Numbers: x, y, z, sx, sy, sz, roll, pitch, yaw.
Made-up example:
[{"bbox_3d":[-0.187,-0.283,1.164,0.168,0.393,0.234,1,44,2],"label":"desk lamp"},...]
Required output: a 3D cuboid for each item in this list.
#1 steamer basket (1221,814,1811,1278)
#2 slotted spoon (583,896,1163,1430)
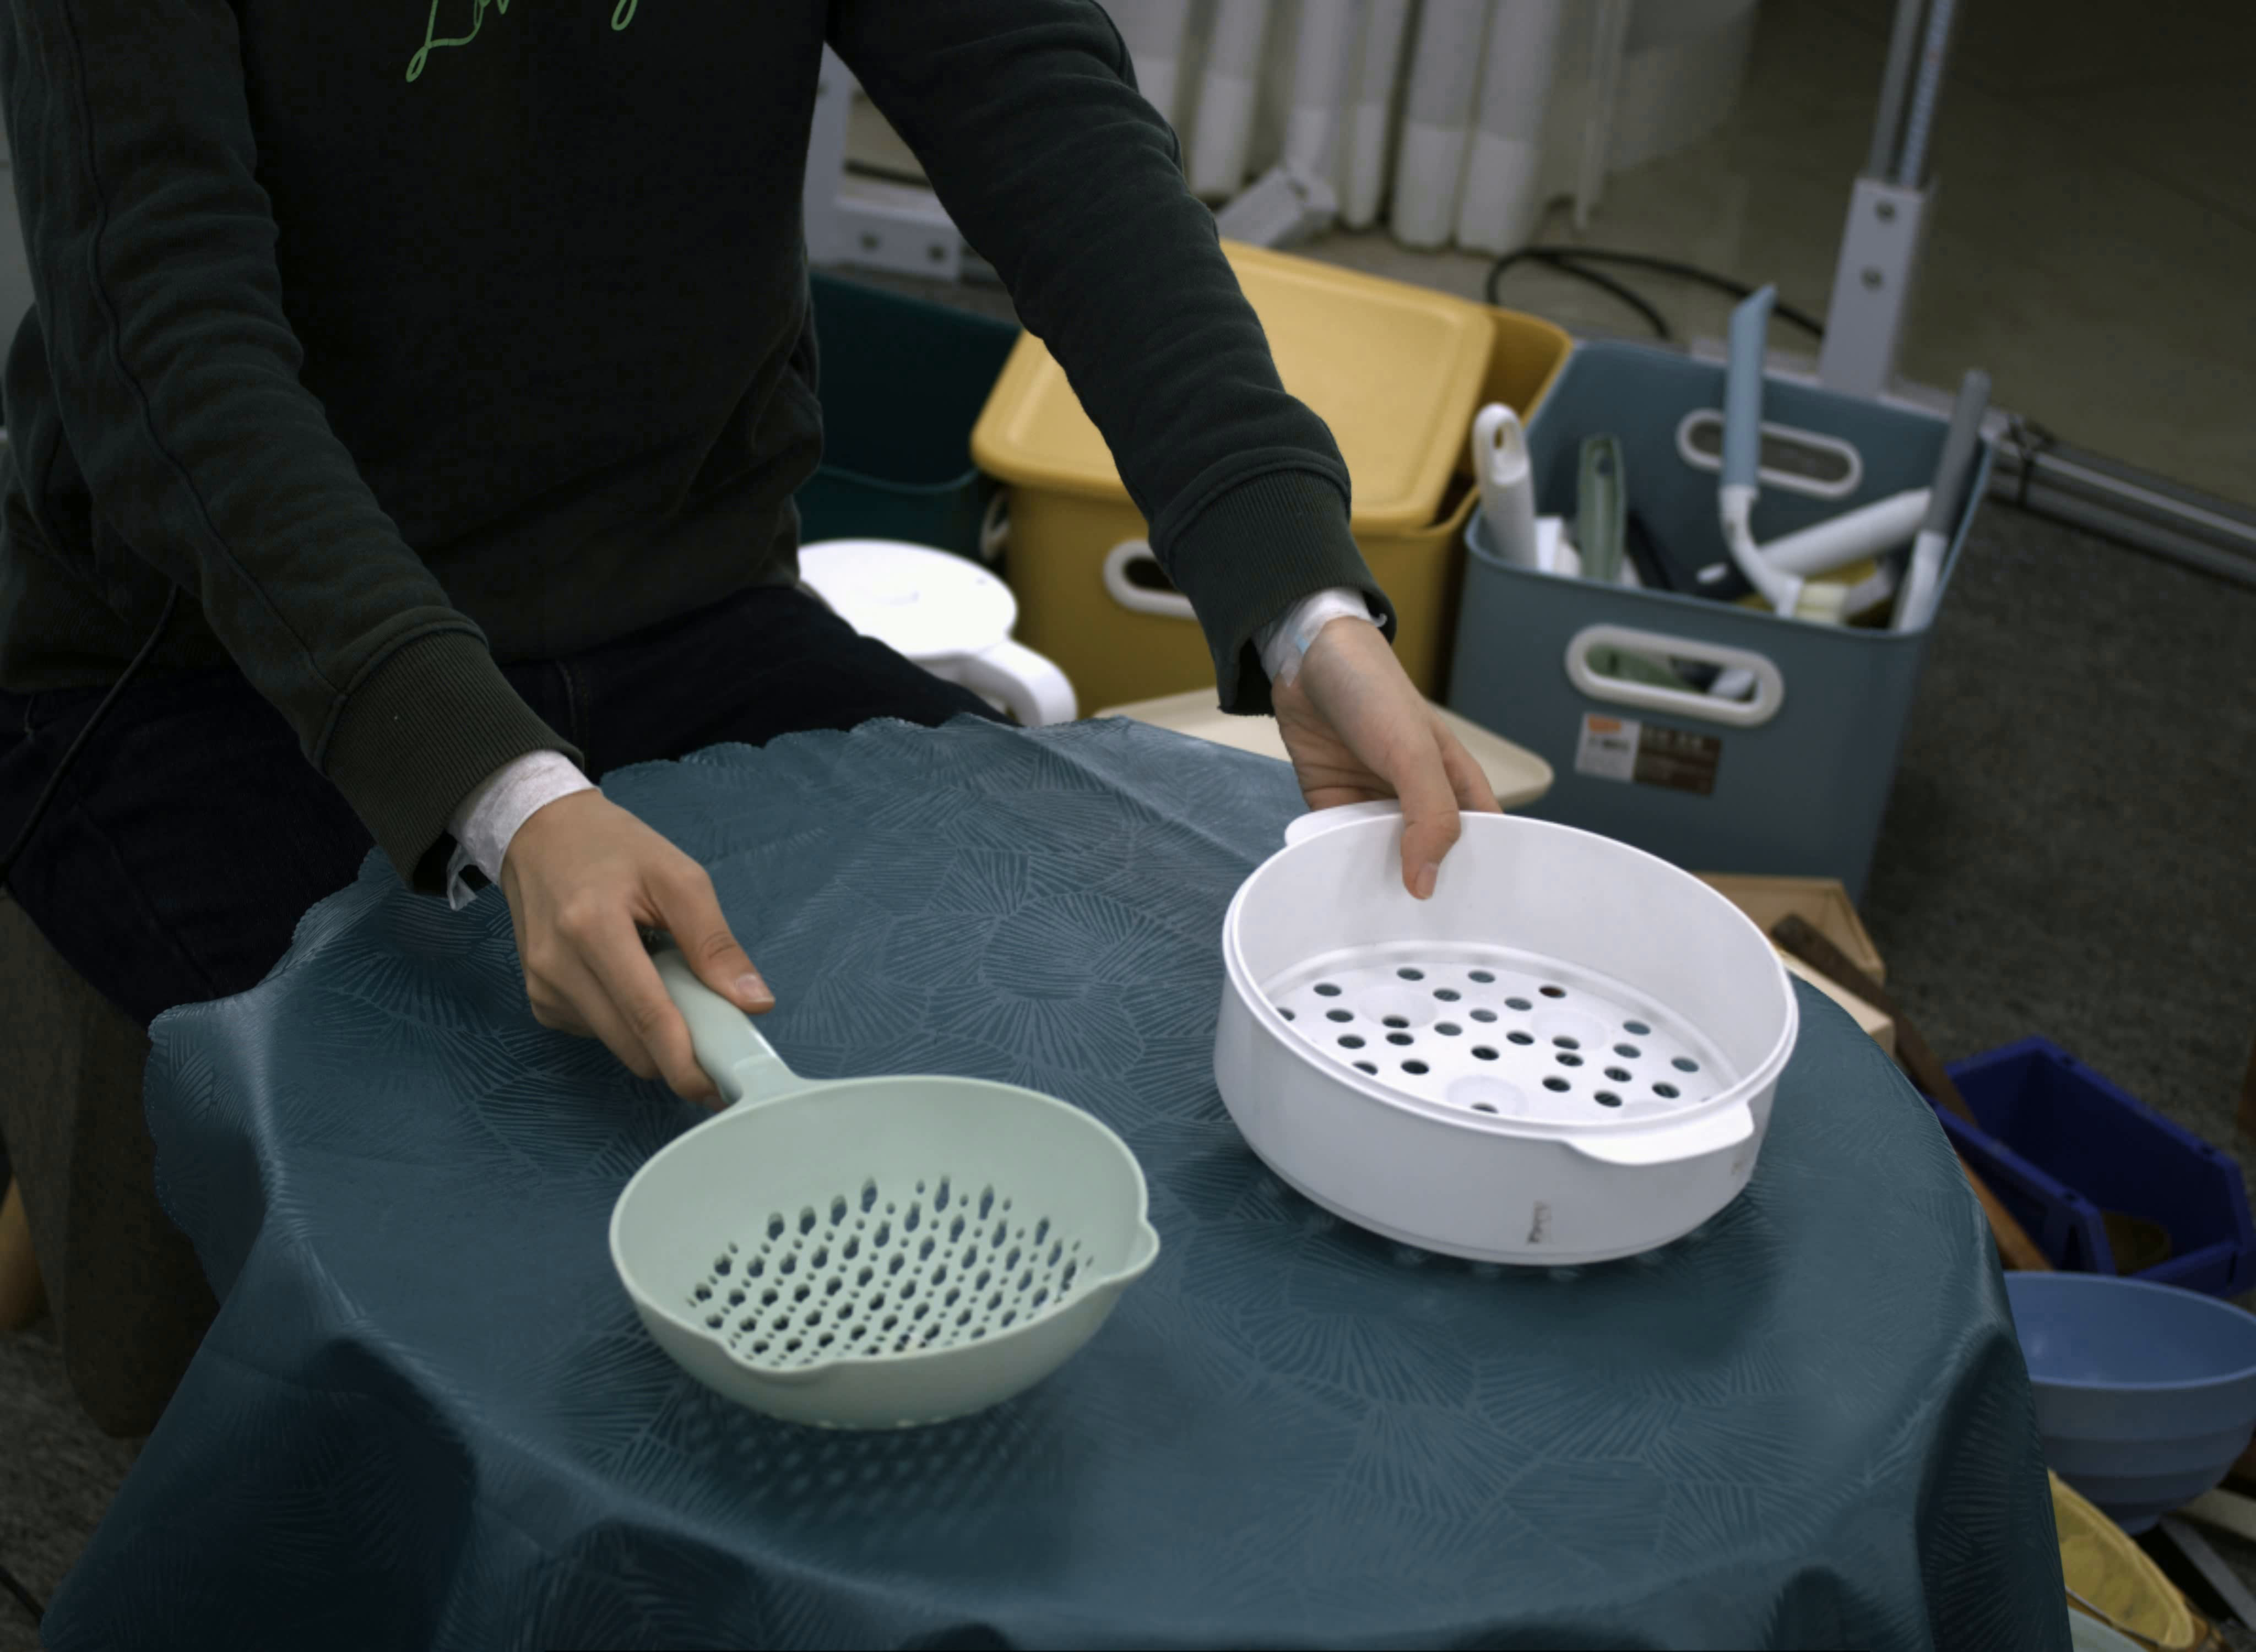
[{"bbox_3d":[0.131,0.078,1.833,0.200,0.069,0.233,-9,34,-28],"label":"steamer basket"},{"bbox_3d":[-0.116,0.093,1.743,0.168,0.075,0.362,-14,36,-20],"label":"slotted spoon"}]
